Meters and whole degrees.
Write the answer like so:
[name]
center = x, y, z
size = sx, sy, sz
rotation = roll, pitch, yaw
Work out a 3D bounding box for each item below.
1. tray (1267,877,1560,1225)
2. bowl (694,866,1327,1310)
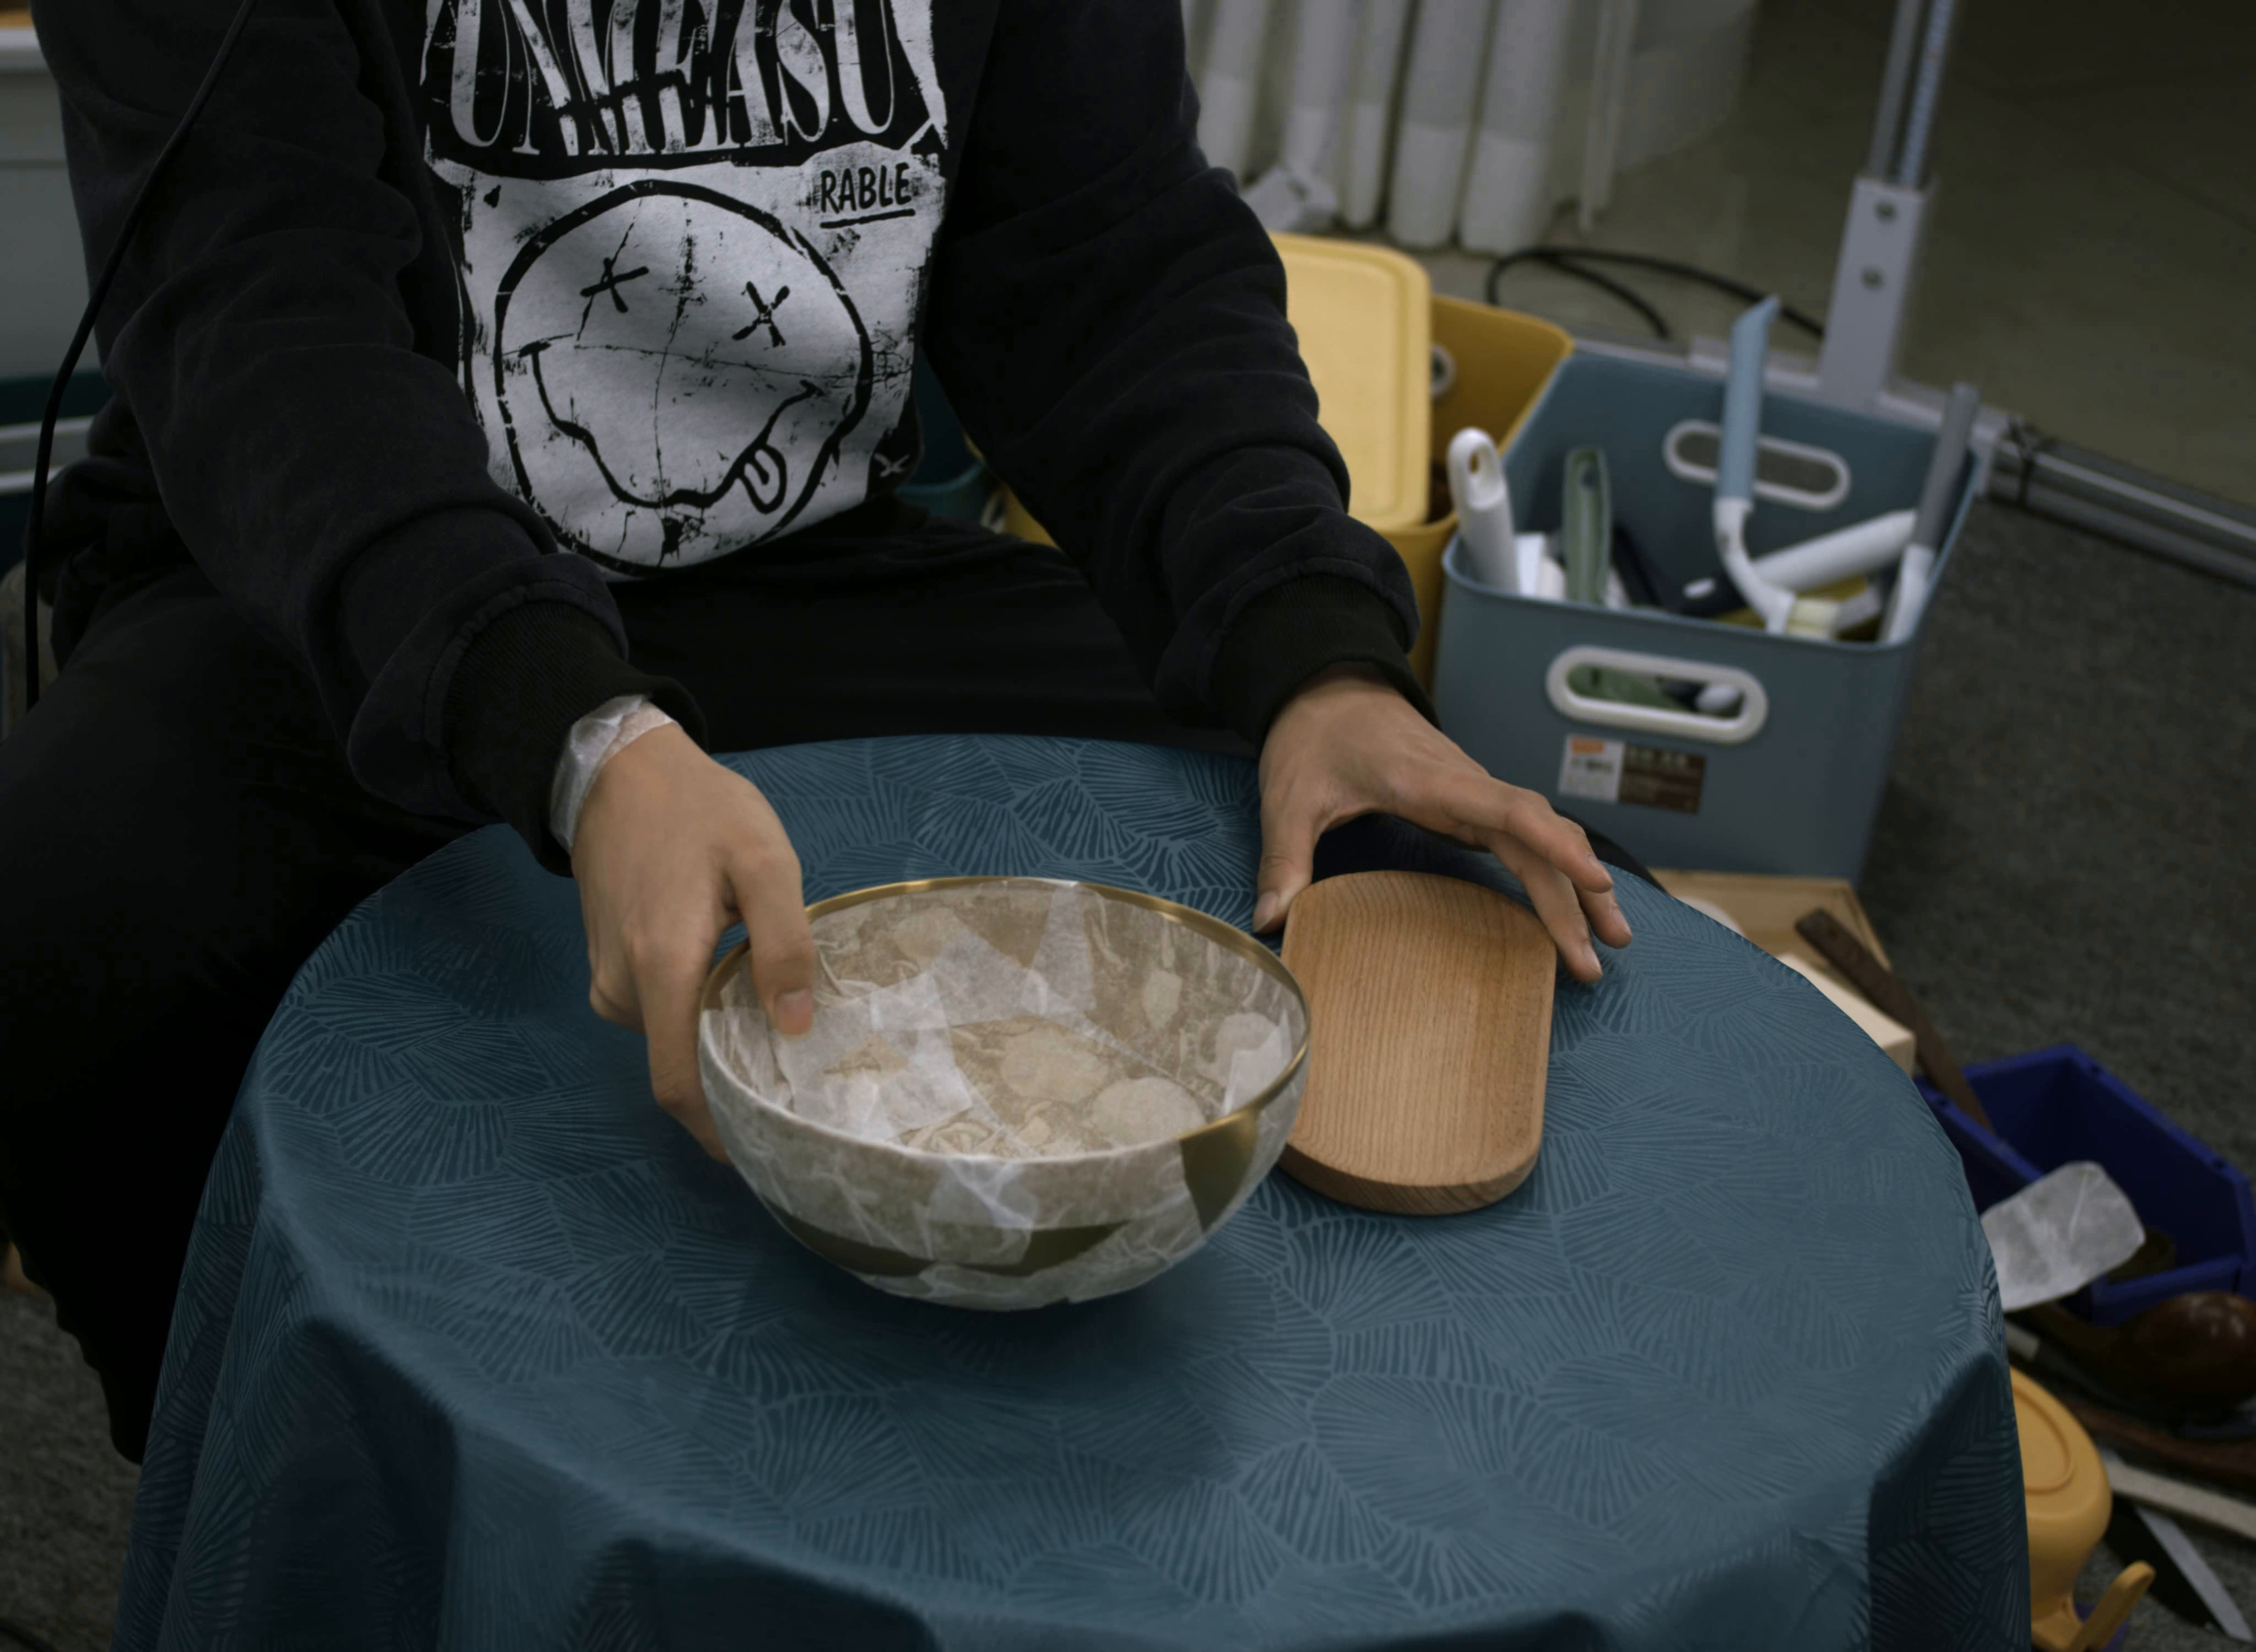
[tray]
center = 0.102, 0.078, 1.897
size = 0.101, 0.020, 0.232
rotation = 6, 28, 3
[bowl]
center = -0.037, 0.097, 1.737
size = 0.214, 0.094, 0.216
rotation = 0, 25, 0
